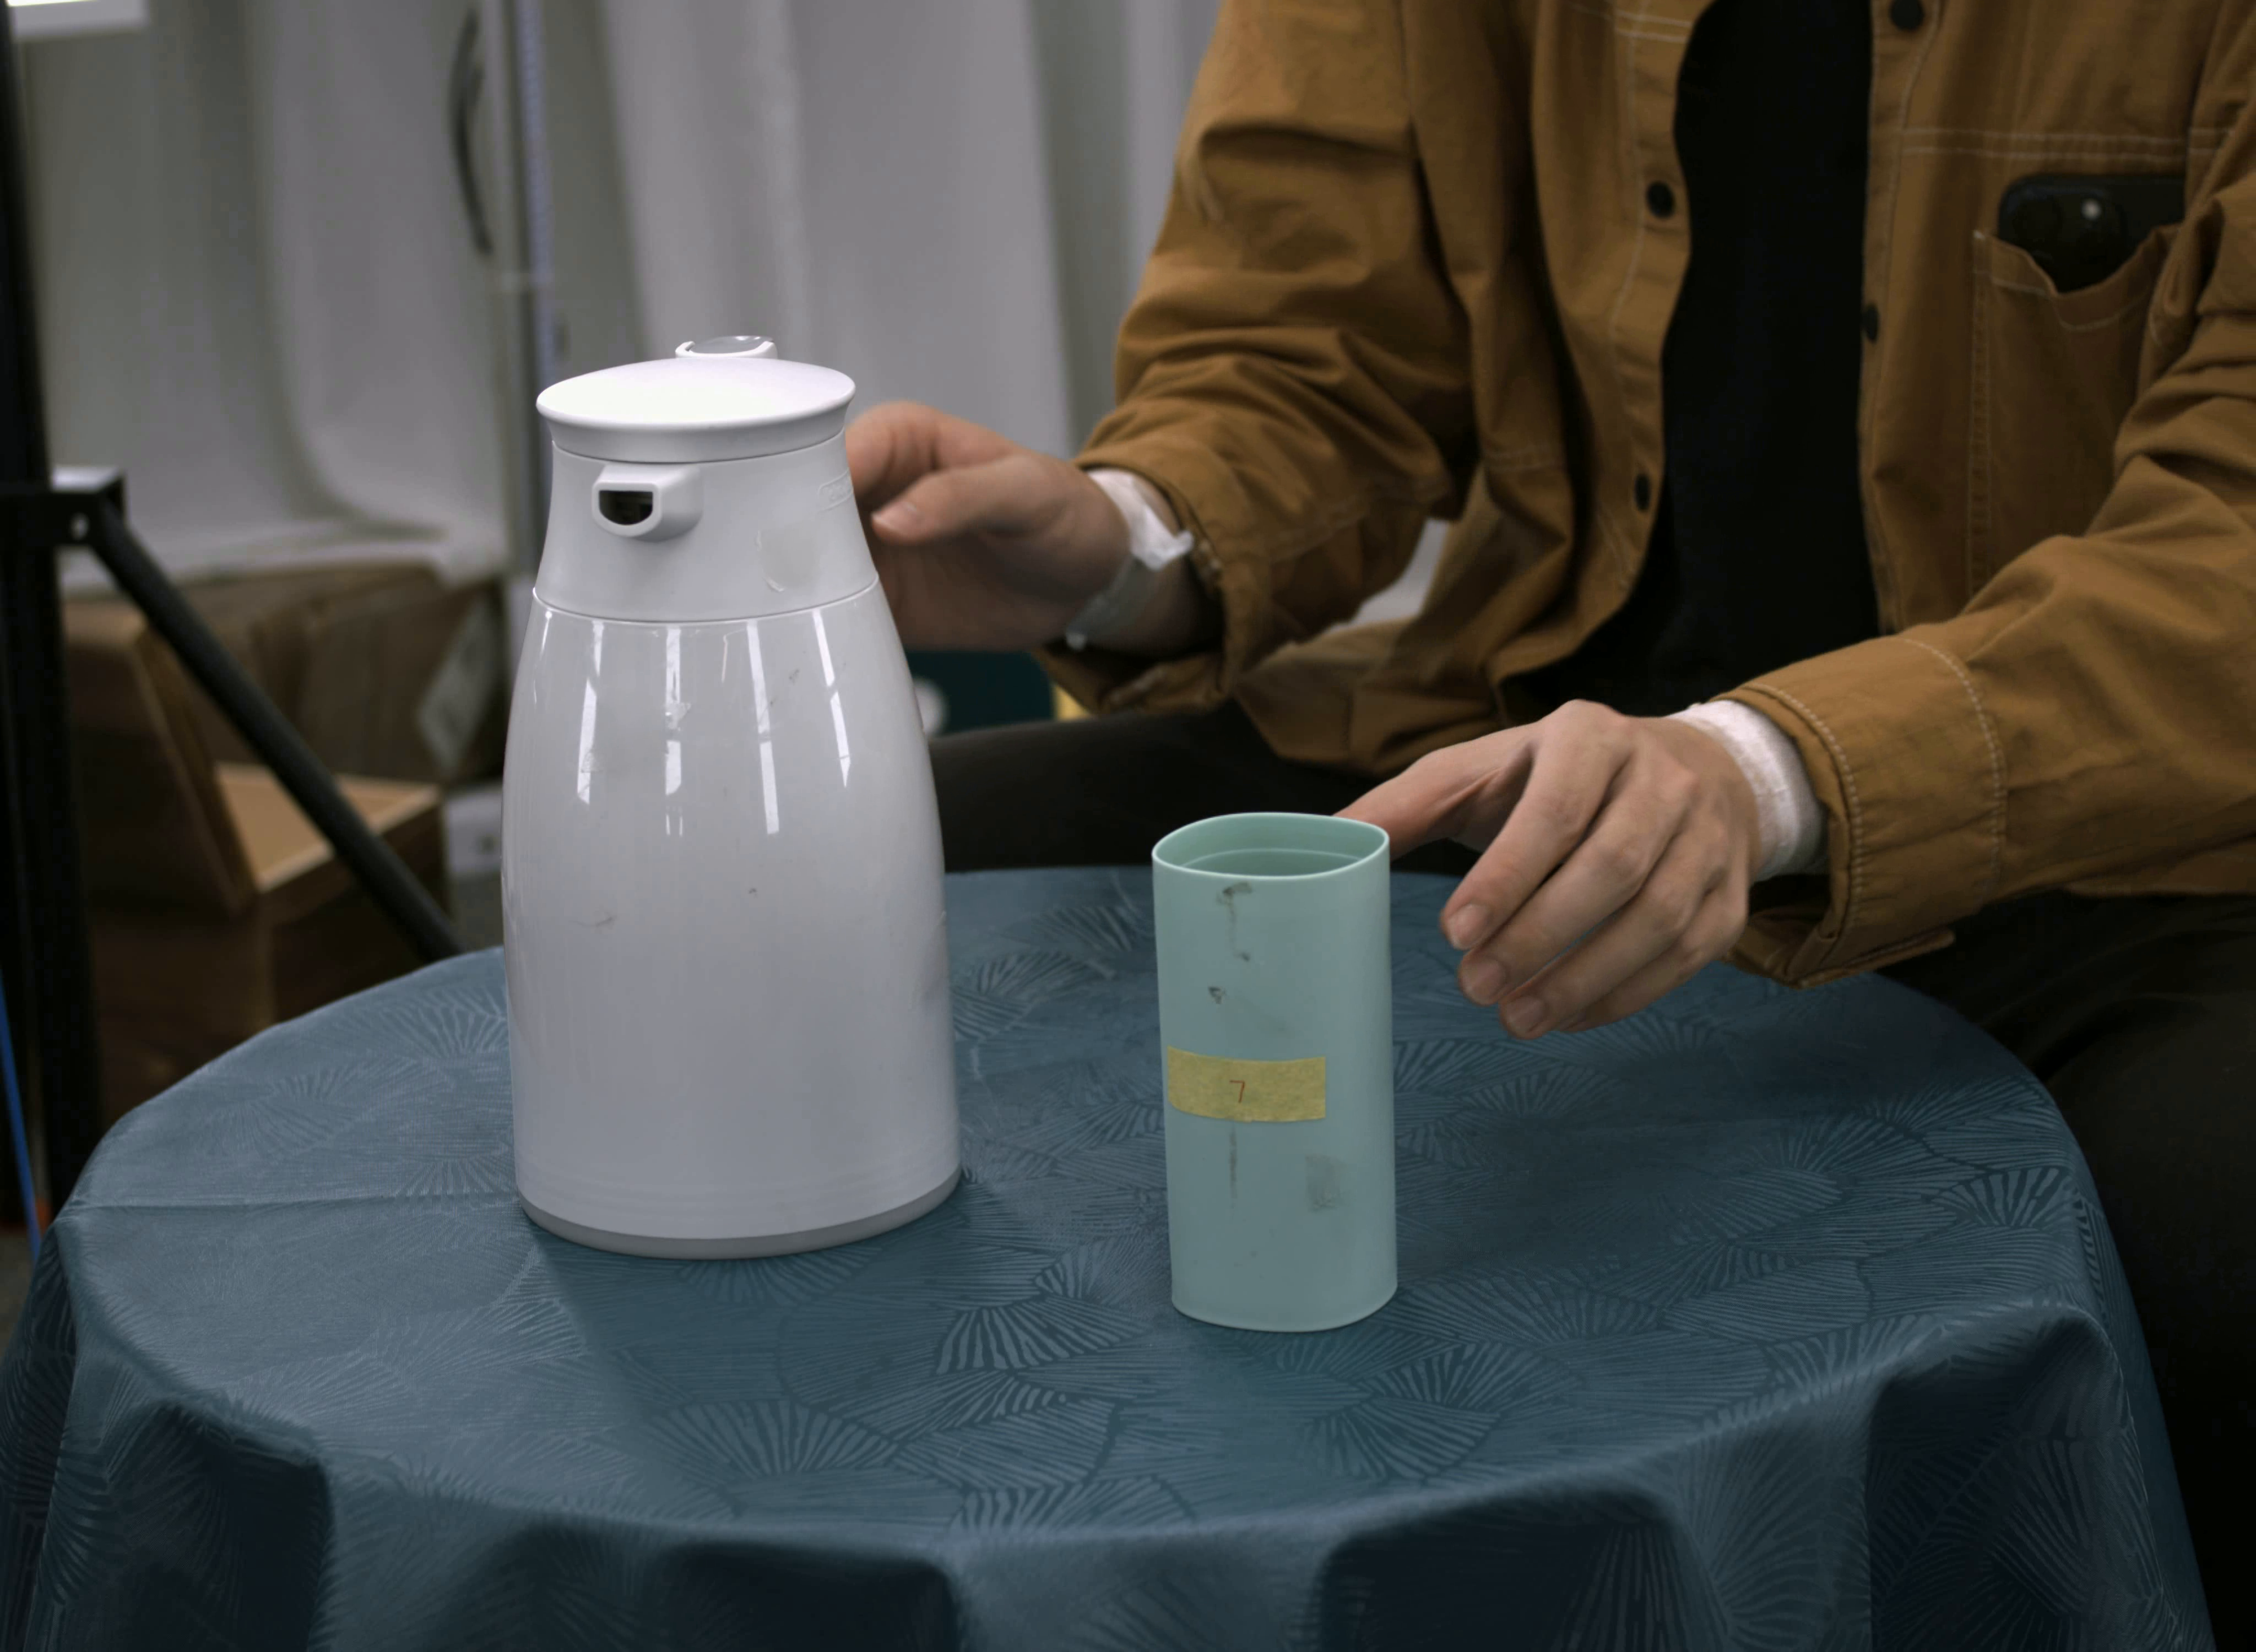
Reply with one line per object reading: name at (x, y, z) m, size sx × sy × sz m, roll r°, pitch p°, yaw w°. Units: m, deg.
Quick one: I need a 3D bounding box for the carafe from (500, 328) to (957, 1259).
carafe at (-0.116, -0.018, 1.566) m, size 0.133 × 0.248 × 0.166 m, roll 2°, pitch 15°, yaw 14°

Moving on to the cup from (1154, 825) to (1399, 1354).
cup at (0.043, 0.071, 1.452) m, size 0.066 × 0.132 × 0.067 m, roll -2°, pitch 15°, yaw -1°
